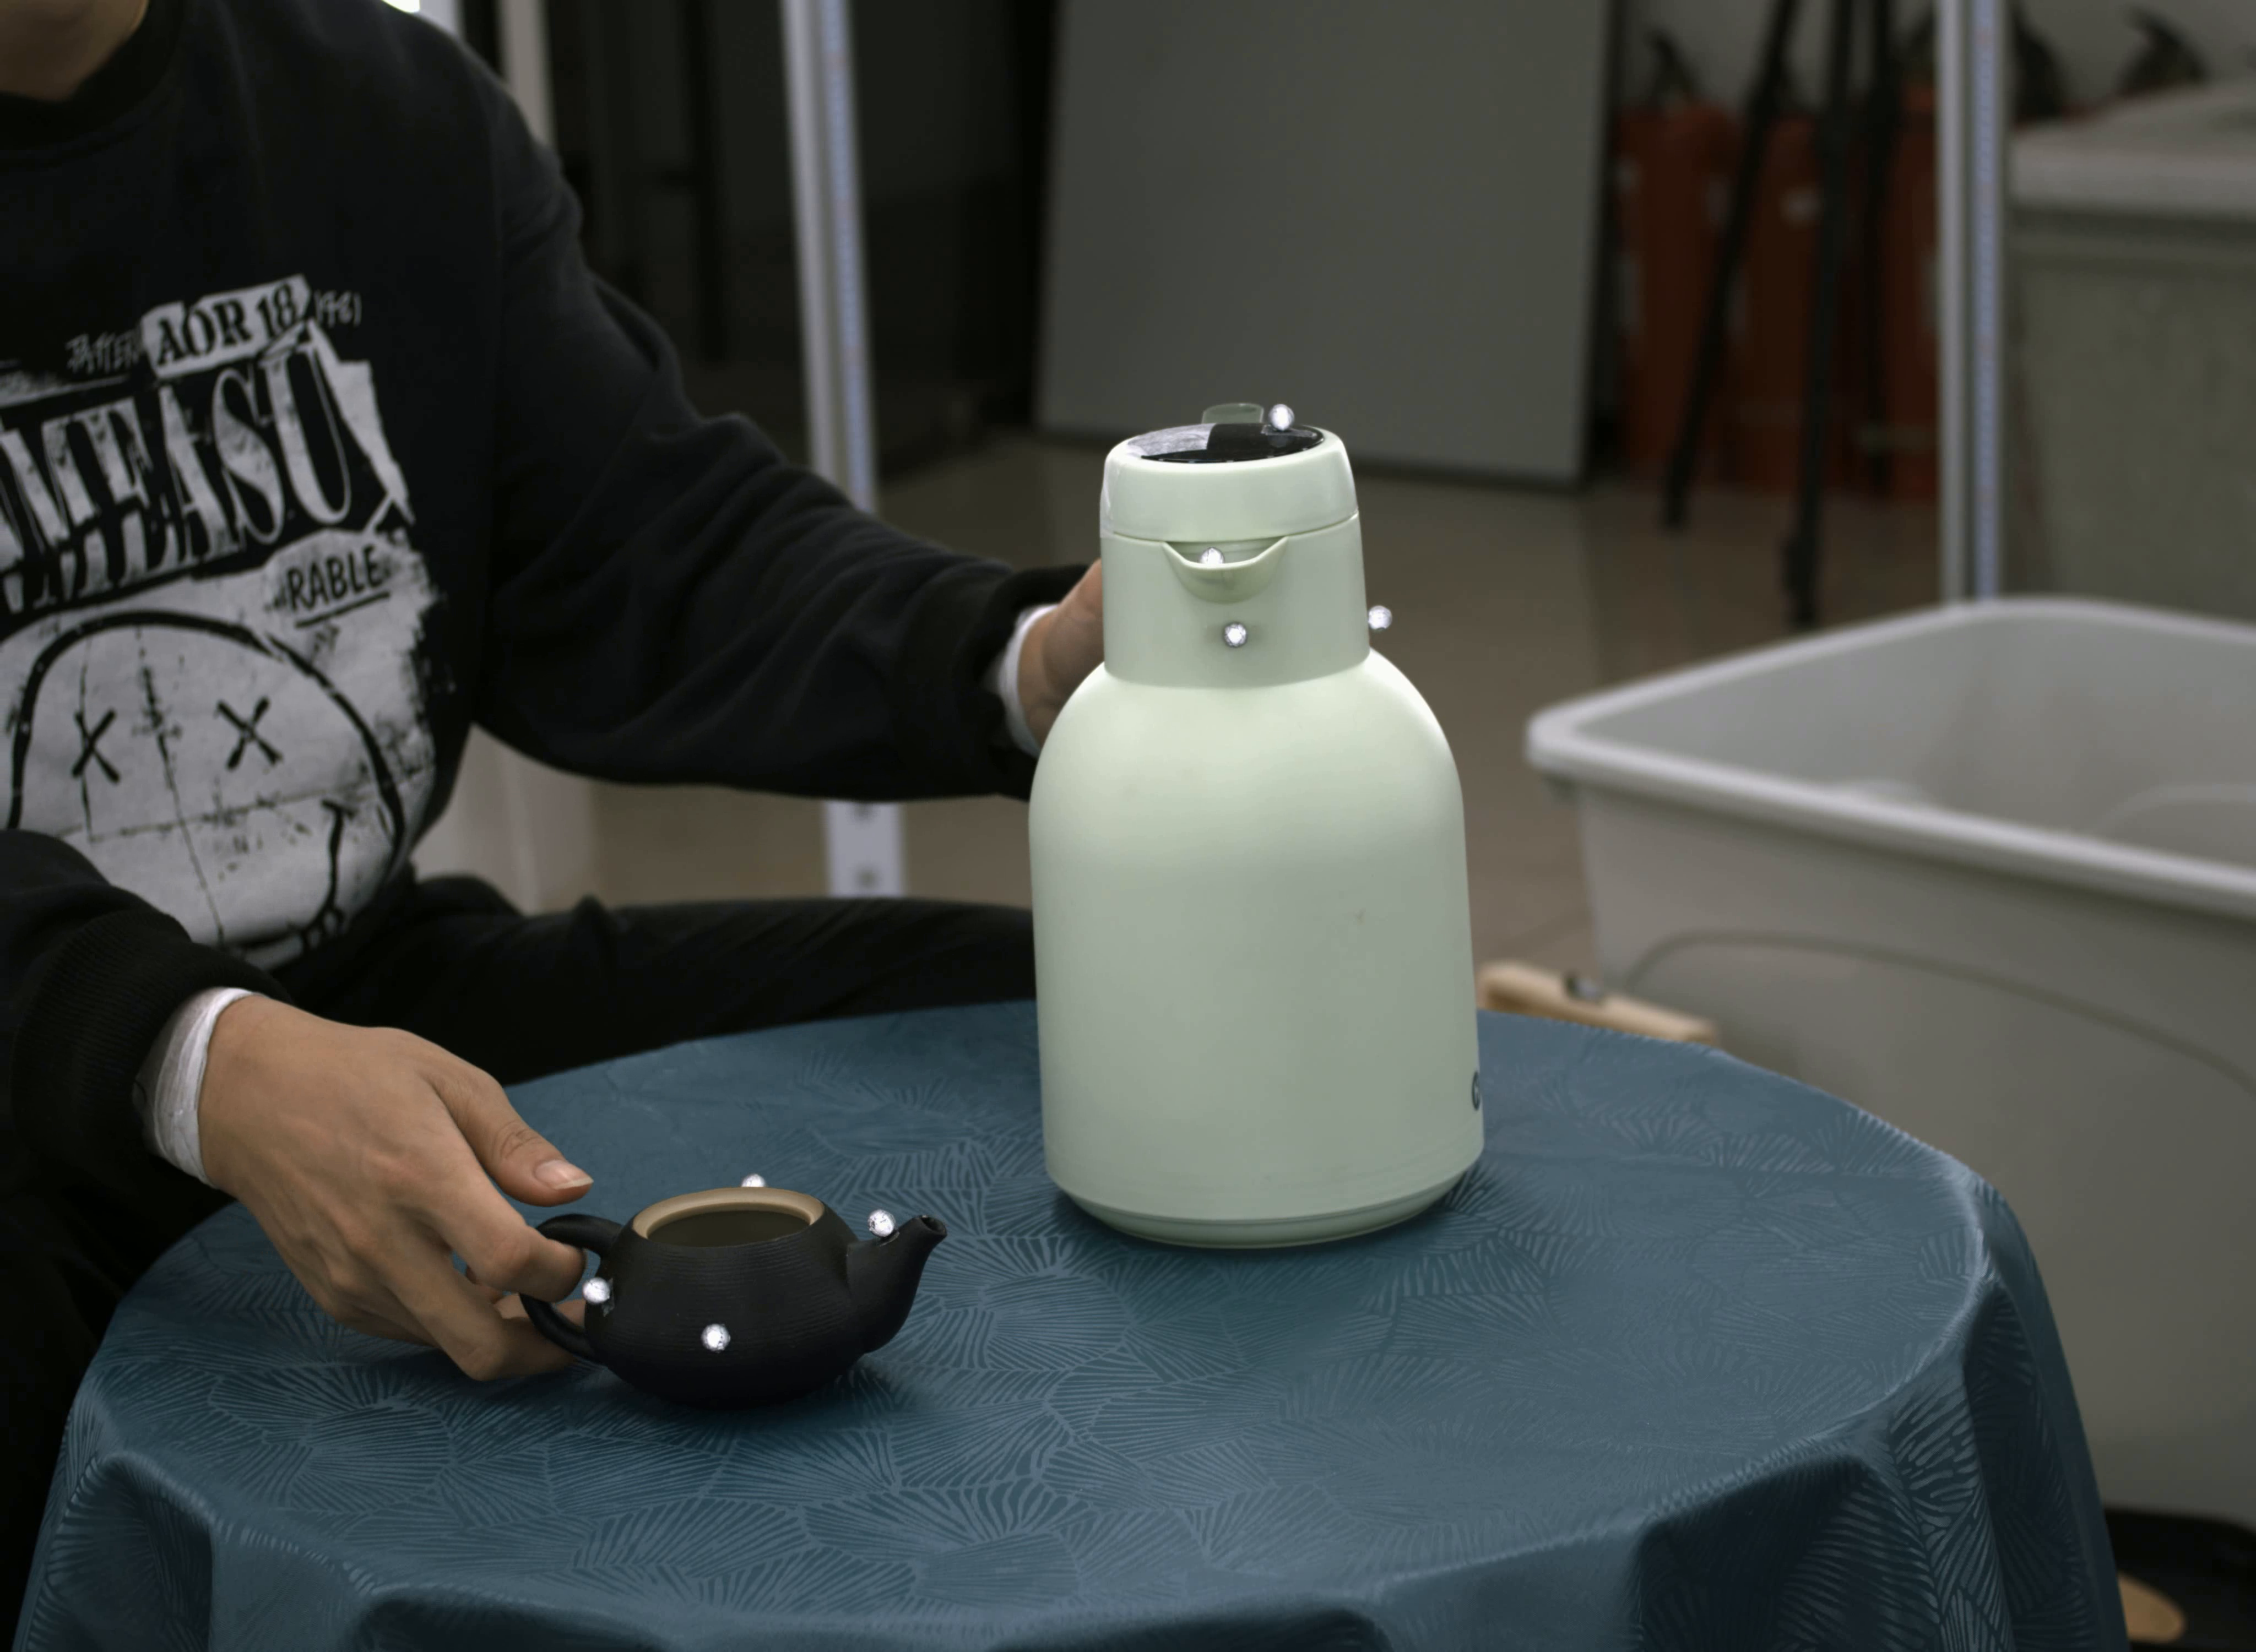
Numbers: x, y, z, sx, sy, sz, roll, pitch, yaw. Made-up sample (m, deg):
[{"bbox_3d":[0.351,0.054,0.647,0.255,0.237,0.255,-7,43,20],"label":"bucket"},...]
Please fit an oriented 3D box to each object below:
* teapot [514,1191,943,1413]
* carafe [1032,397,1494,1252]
[{"bbox_3d":[-0.118,0.142,1.614,0.132,0.053,0.090,-1,12,10],"label":"teapot"},{"bbox_3d":[0.039,-0.005,1.749,0.143,0.259,0.186,-4,10,5],"label":"carafe"}]
